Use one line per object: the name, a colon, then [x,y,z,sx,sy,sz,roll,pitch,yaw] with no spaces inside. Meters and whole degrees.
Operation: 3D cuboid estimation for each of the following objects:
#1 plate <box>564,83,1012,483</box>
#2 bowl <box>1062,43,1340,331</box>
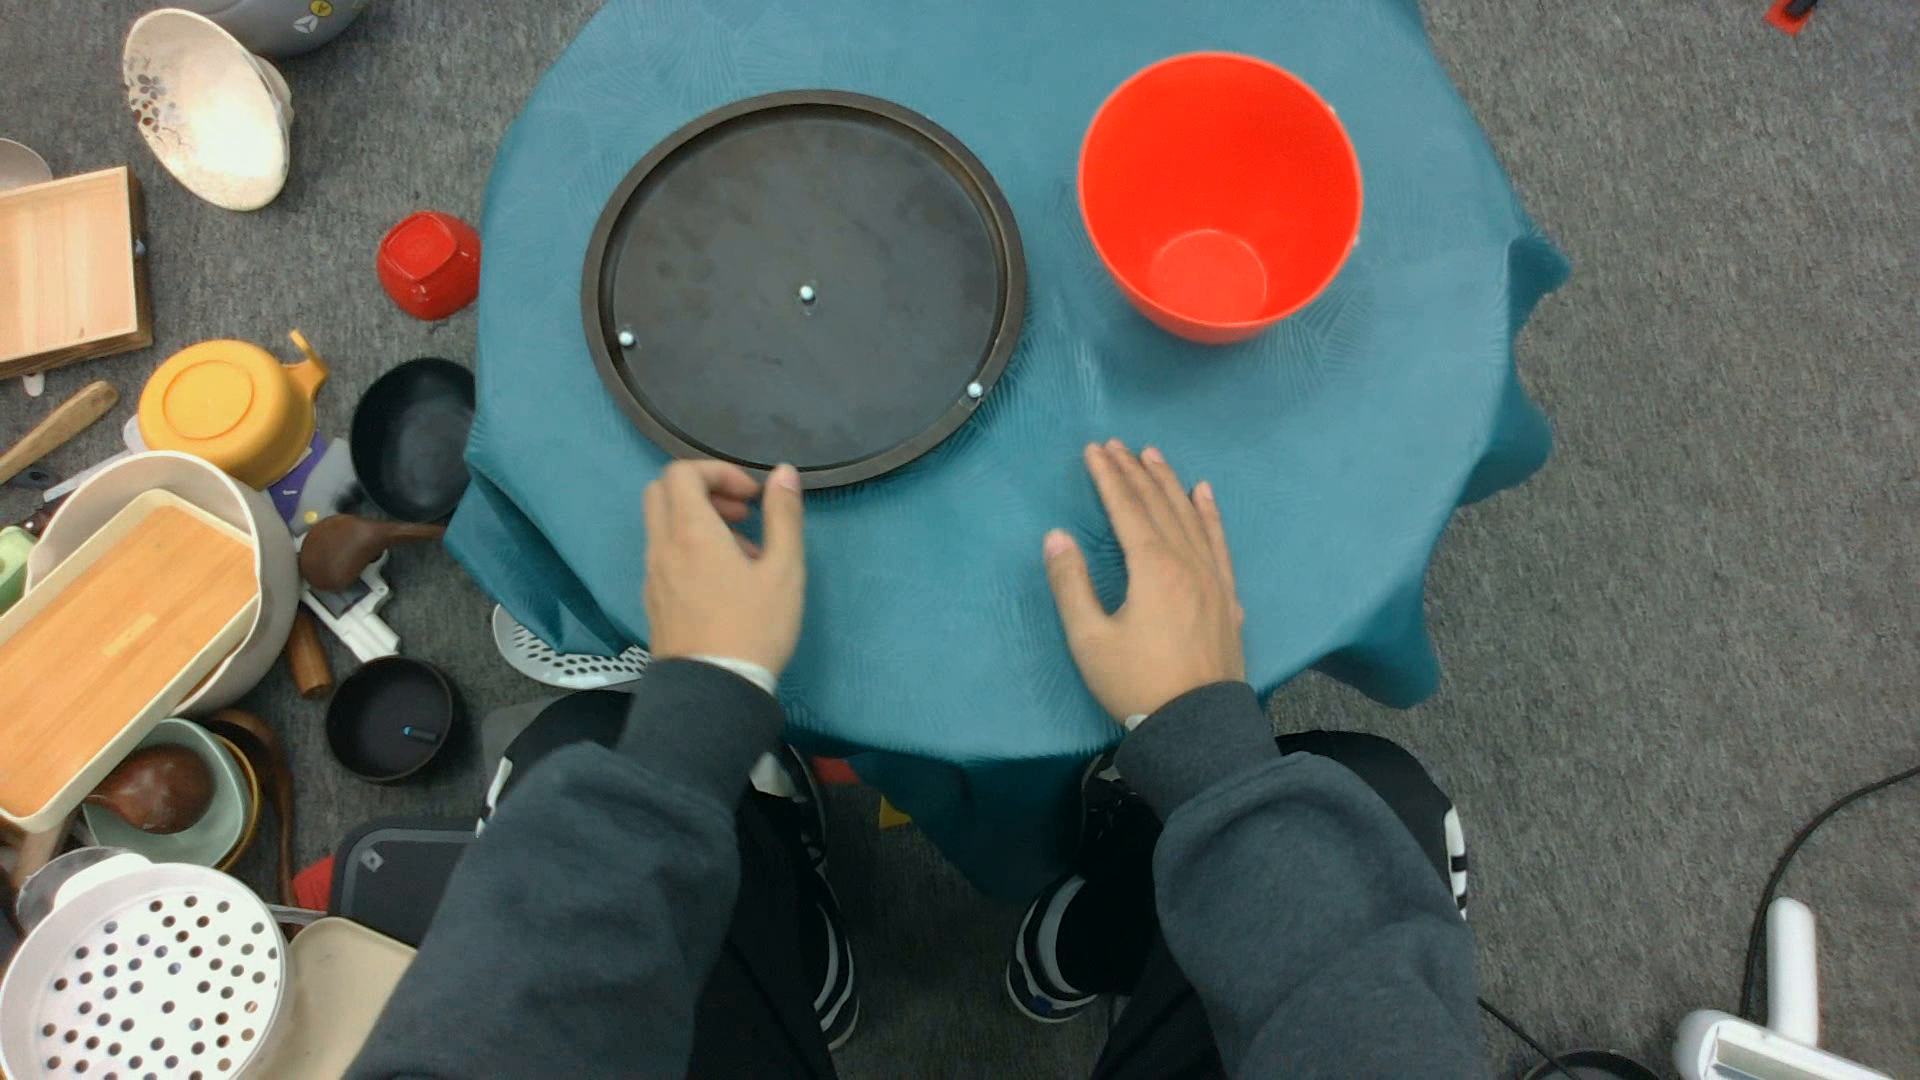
plate: [-0.098,-0.150,0.785,0.255,0.029,0.255,0,72,-1]
bowl: [0.126,-0.178,0.752,0.148,0.104,0.148,0,72,0]
